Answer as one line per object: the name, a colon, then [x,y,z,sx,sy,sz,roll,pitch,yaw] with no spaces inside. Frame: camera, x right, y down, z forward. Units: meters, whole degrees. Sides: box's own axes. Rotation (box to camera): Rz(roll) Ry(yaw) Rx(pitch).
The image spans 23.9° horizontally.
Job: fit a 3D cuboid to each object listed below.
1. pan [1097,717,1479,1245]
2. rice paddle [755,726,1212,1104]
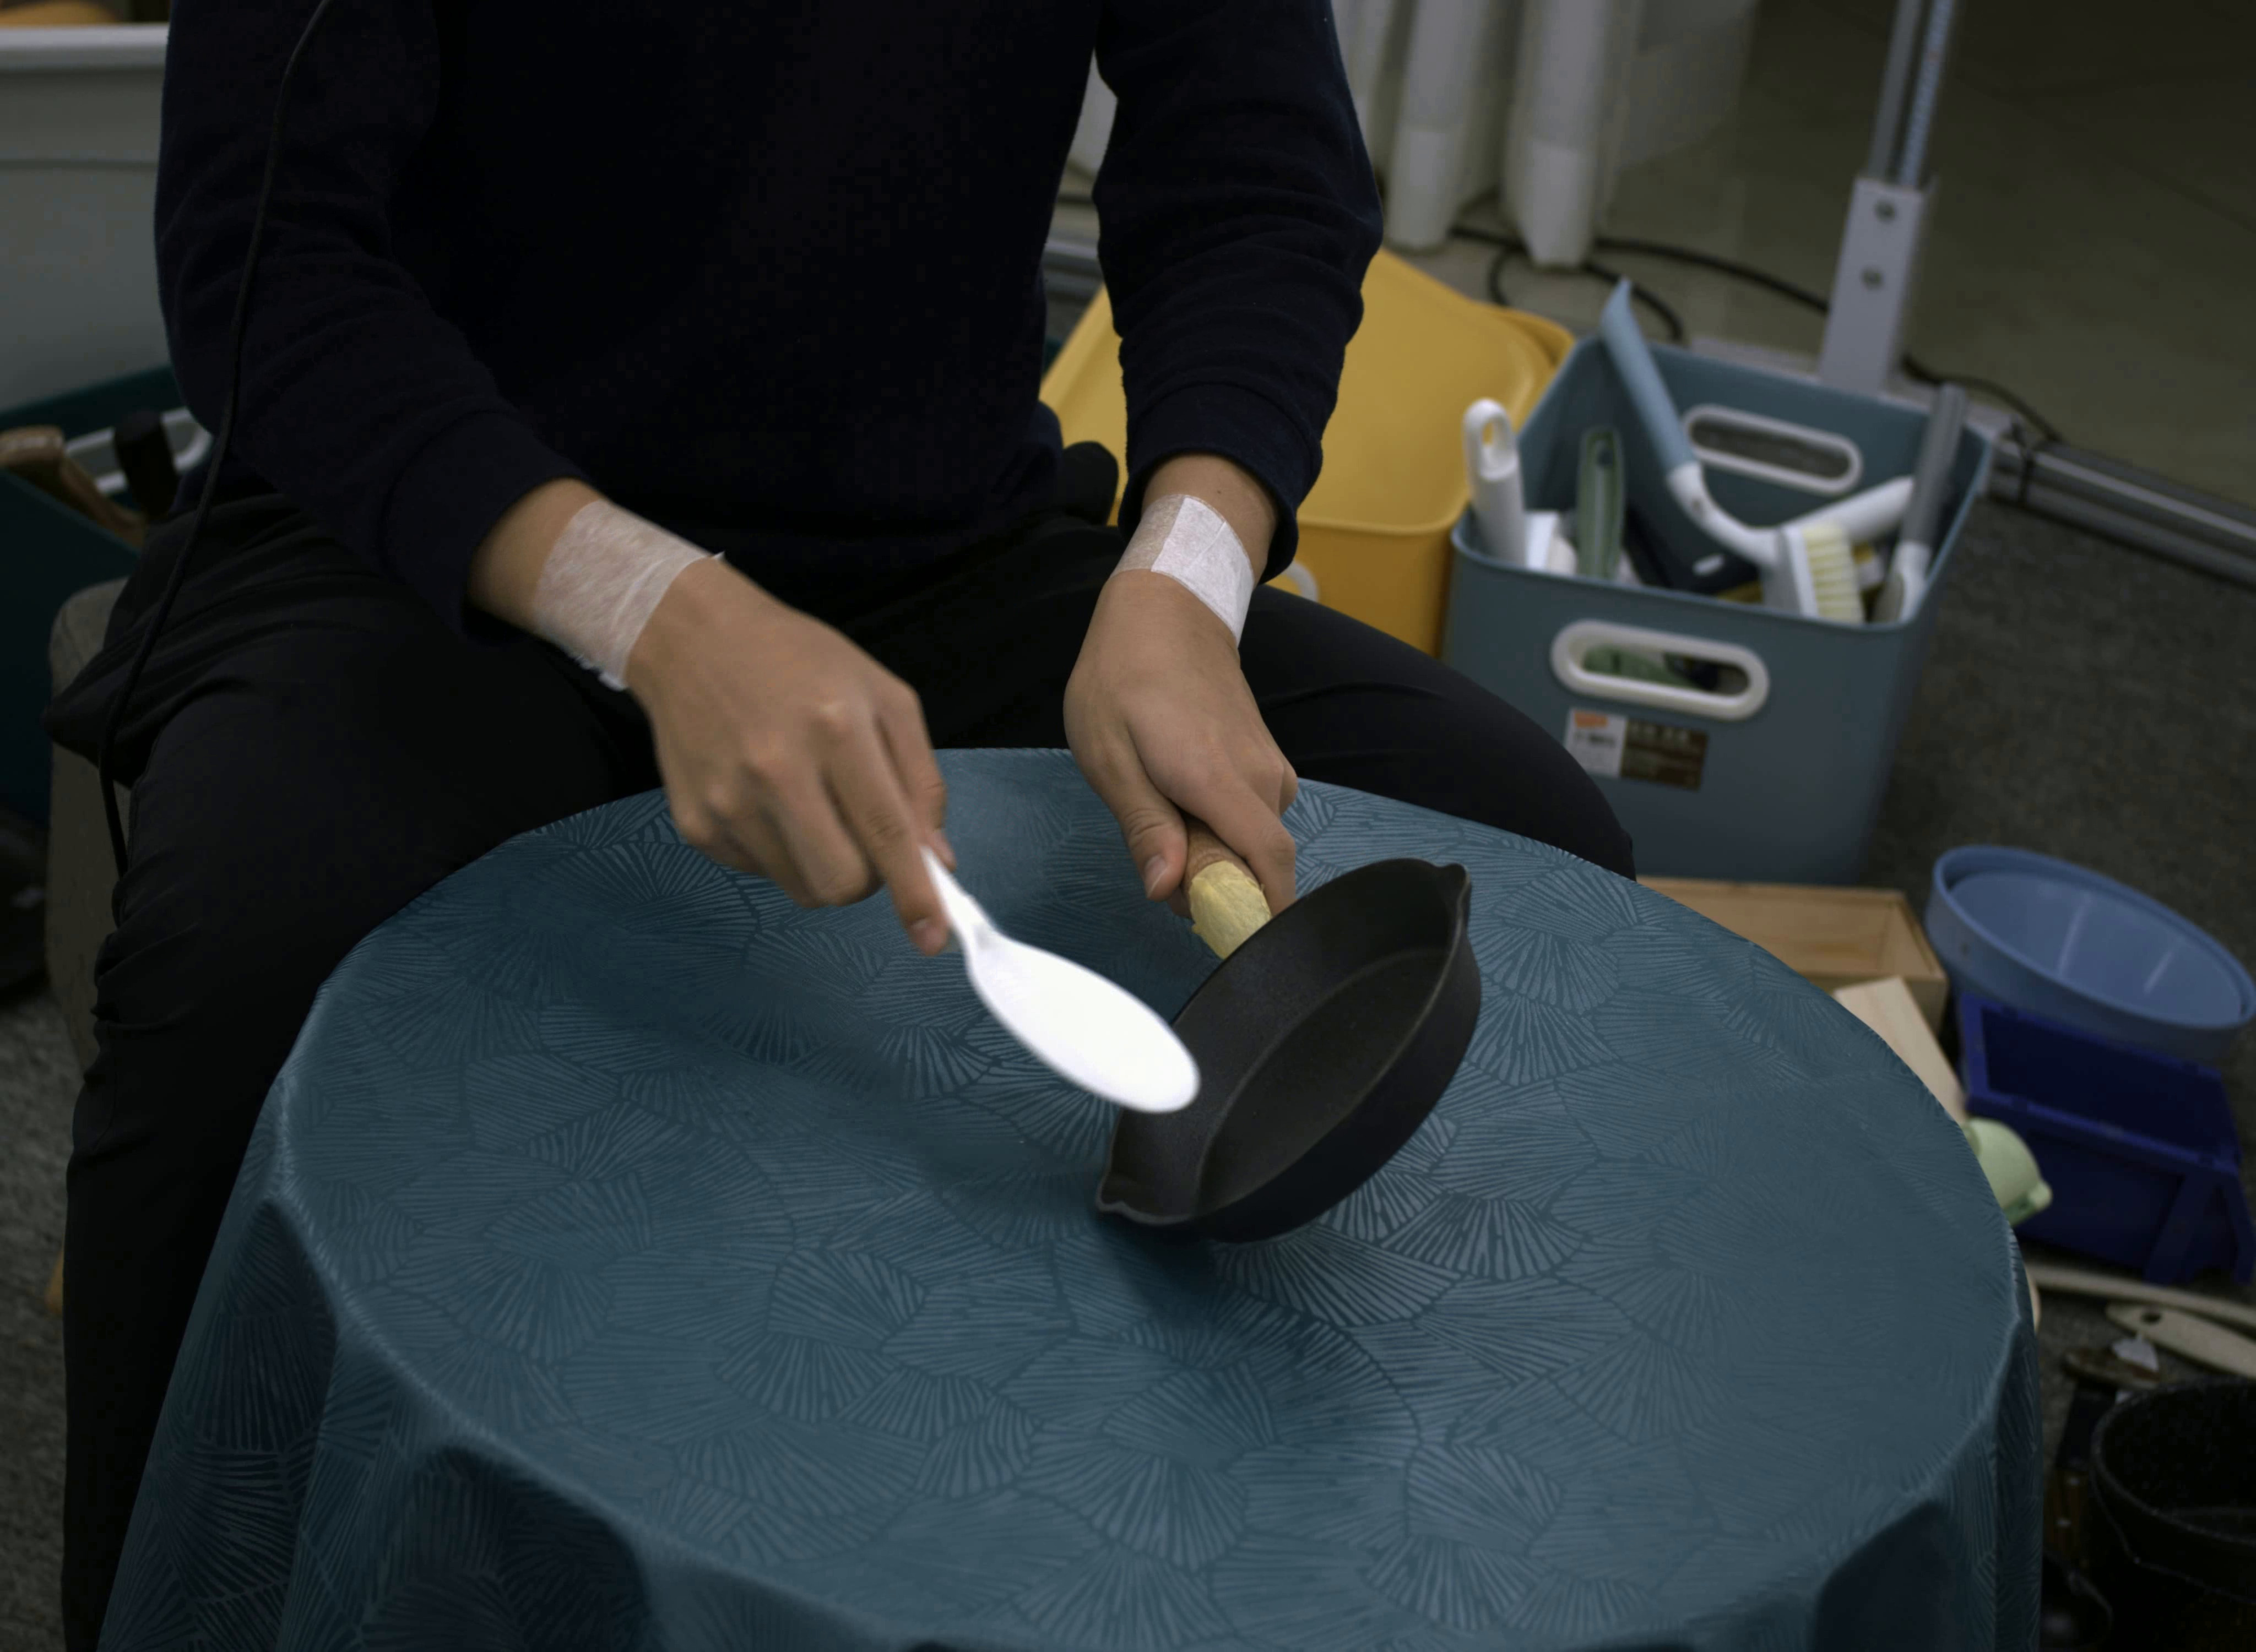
pan: [0.044,0.041,1.851,0.049,0.169,0.326,43,12,-22]
rice paddle: [-0.048,0.033,1.822,0.207,0.029,0.068,39,28,28]
